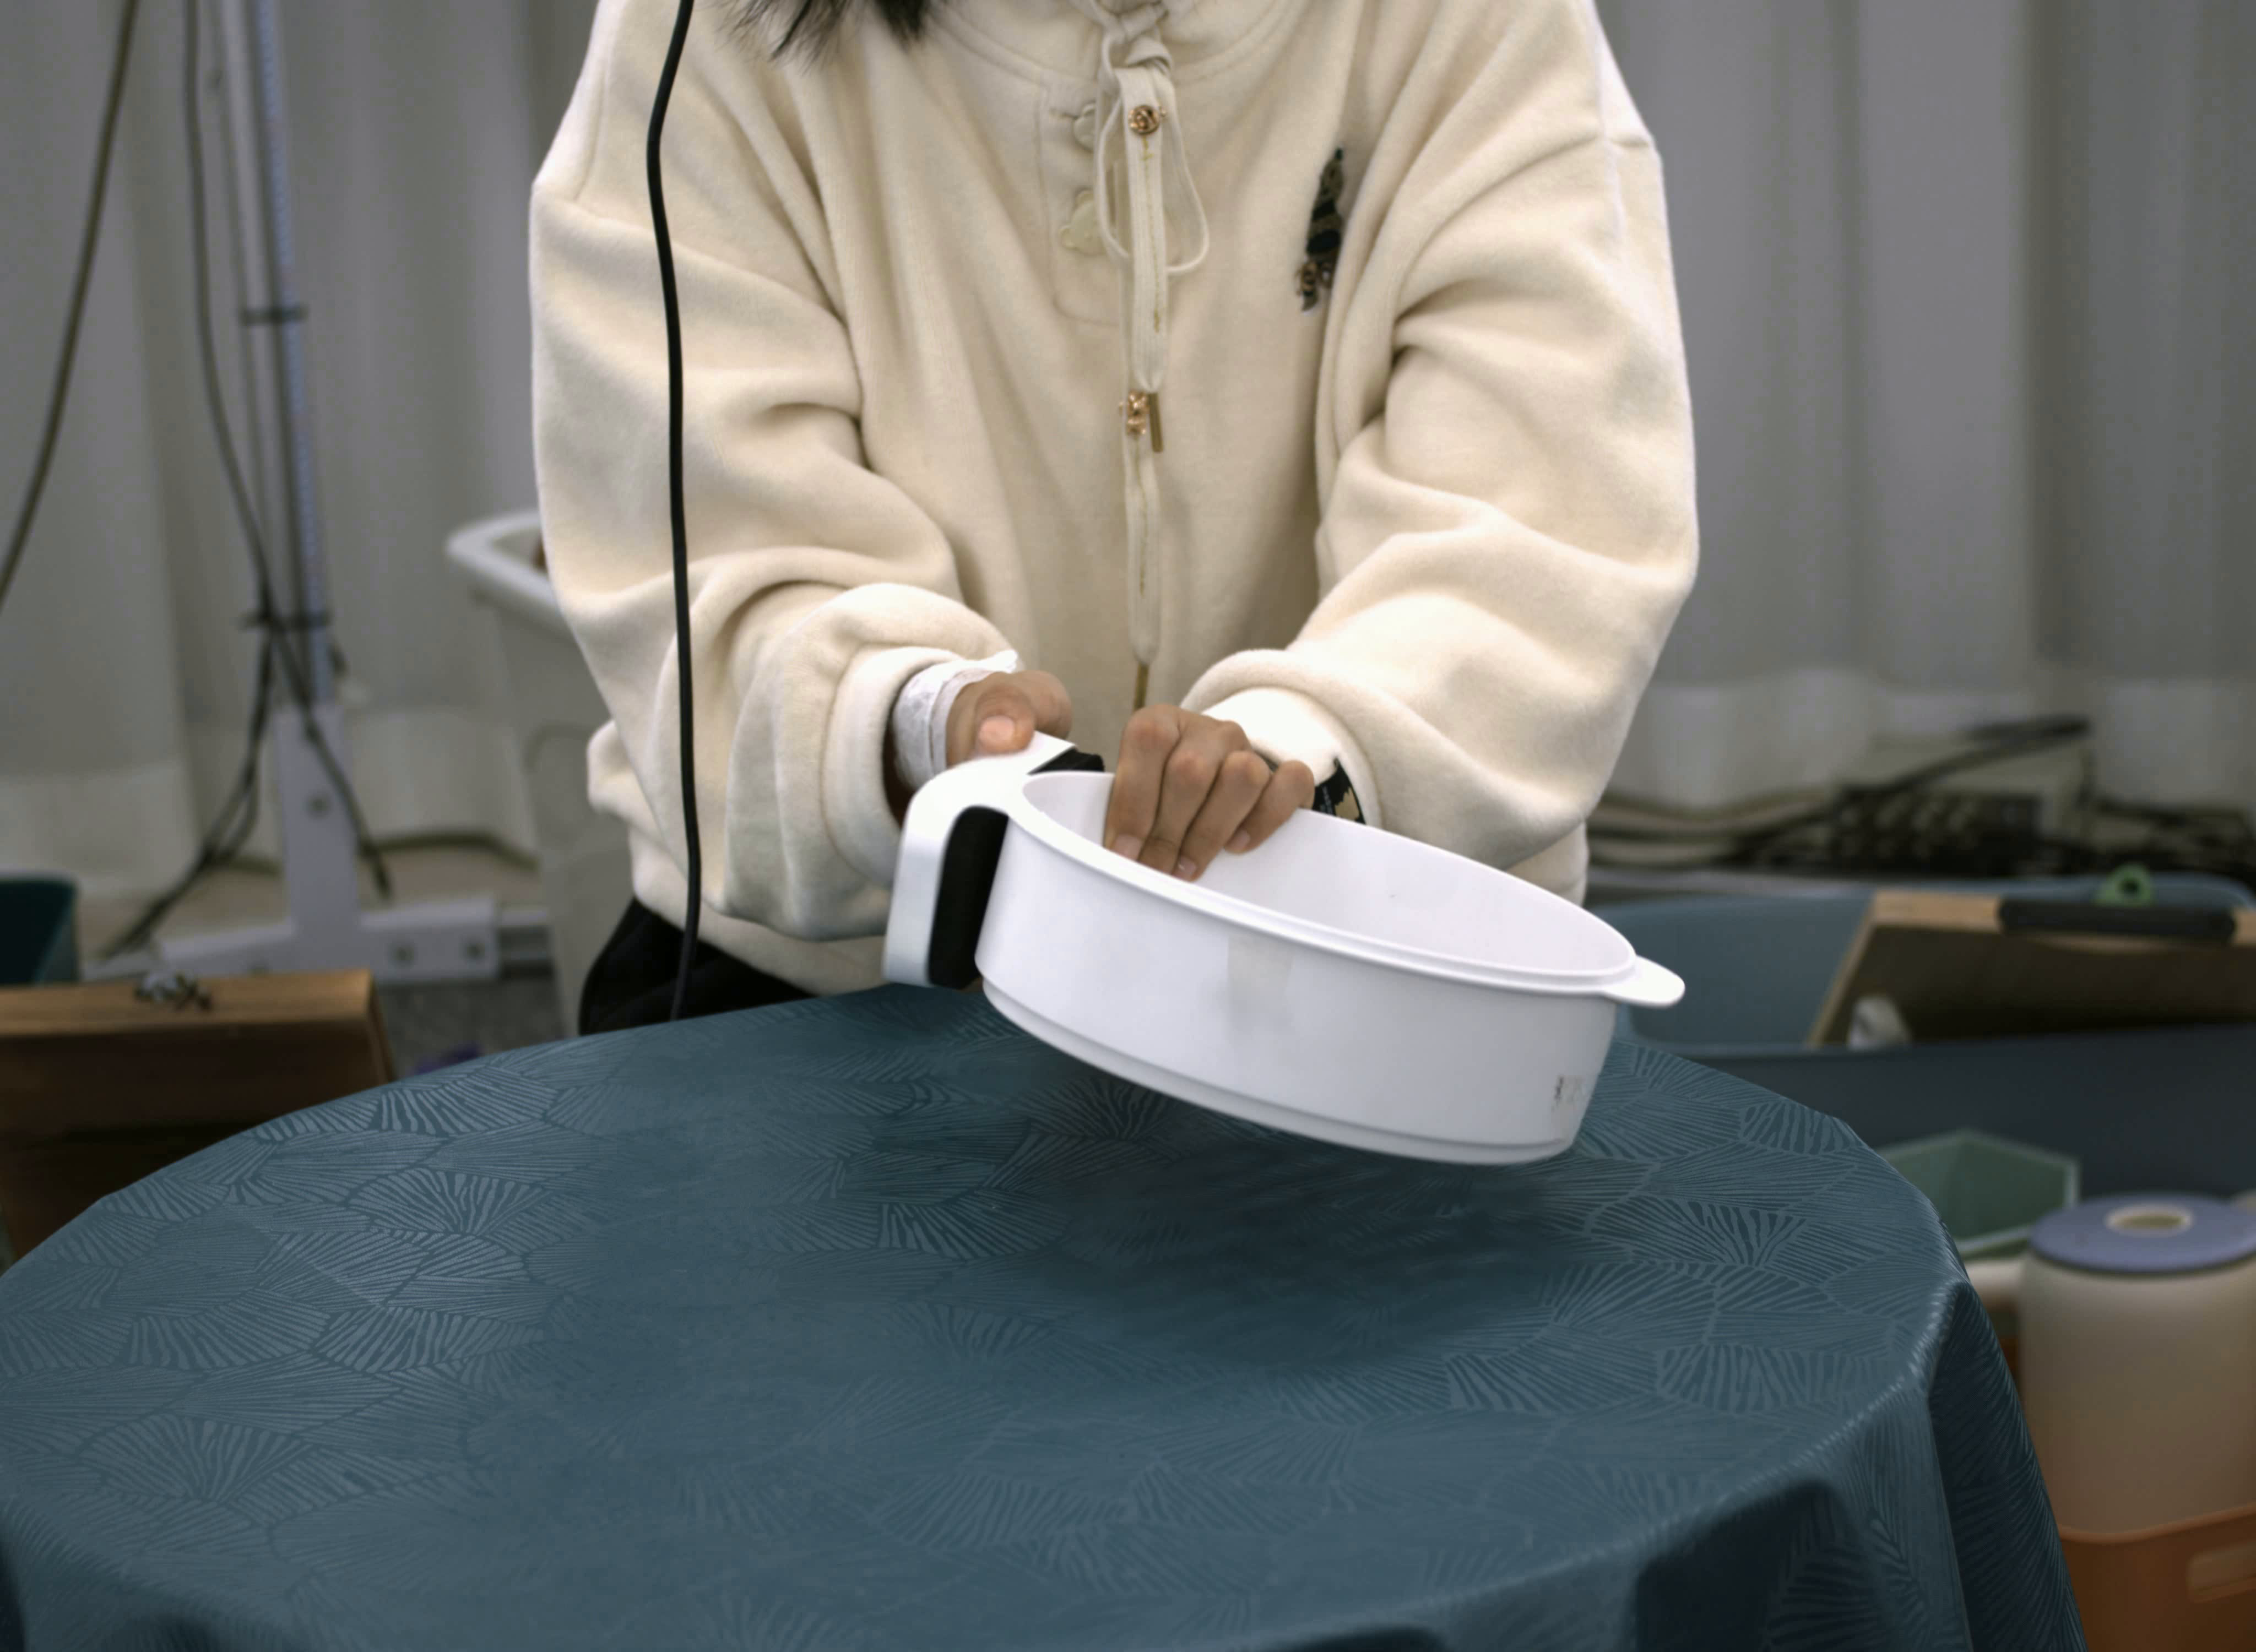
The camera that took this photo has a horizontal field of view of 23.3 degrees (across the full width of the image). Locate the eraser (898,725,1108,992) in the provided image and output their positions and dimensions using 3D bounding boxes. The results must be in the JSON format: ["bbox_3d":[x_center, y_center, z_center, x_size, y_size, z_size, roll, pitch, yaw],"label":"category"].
[{"bbox_3d":[-0.041,0.009,1.733,0.034,0.063,0.132,13,17,14],"label":"eraser"}]

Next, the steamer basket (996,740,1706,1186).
[{"bbox_3d":[0.058,0.043,1.667,0.231,0.069,0.202,22,12,9],"label":"steamer basket"}]
